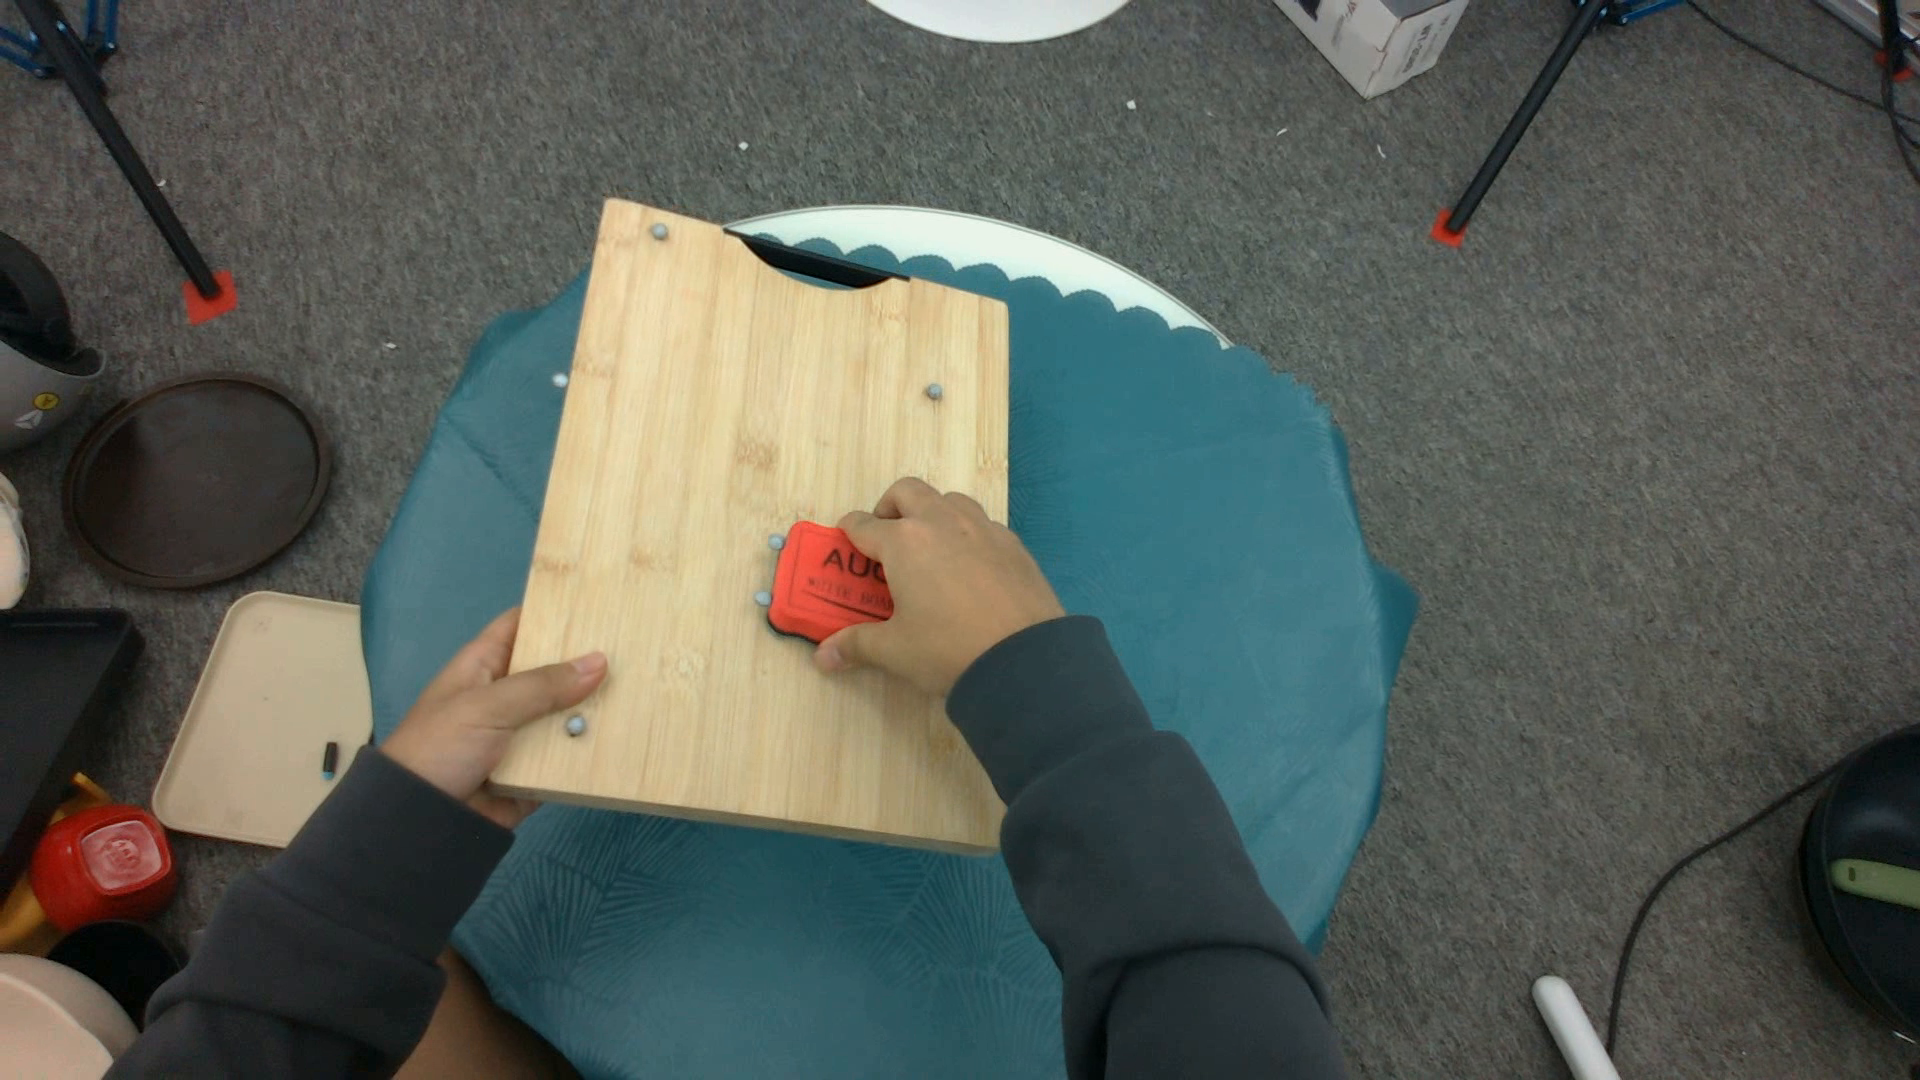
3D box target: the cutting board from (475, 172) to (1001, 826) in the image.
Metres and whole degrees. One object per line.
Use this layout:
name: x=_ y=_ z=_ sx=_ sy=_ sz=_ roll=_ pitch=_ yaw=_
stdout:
cutting board: x=-0.095 y=-0.032 z=0.722 sx=0.251 sy=0.023 sz=0.350 roll=11 pitch=58 yaw=-18

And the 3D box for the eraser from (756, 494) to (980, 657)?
eraser: x=-0.045 y=0.018 z=0.689 sx=0.108 sy=0.023 sz=0.059 roll=16 pitch=54 yaw=-14
